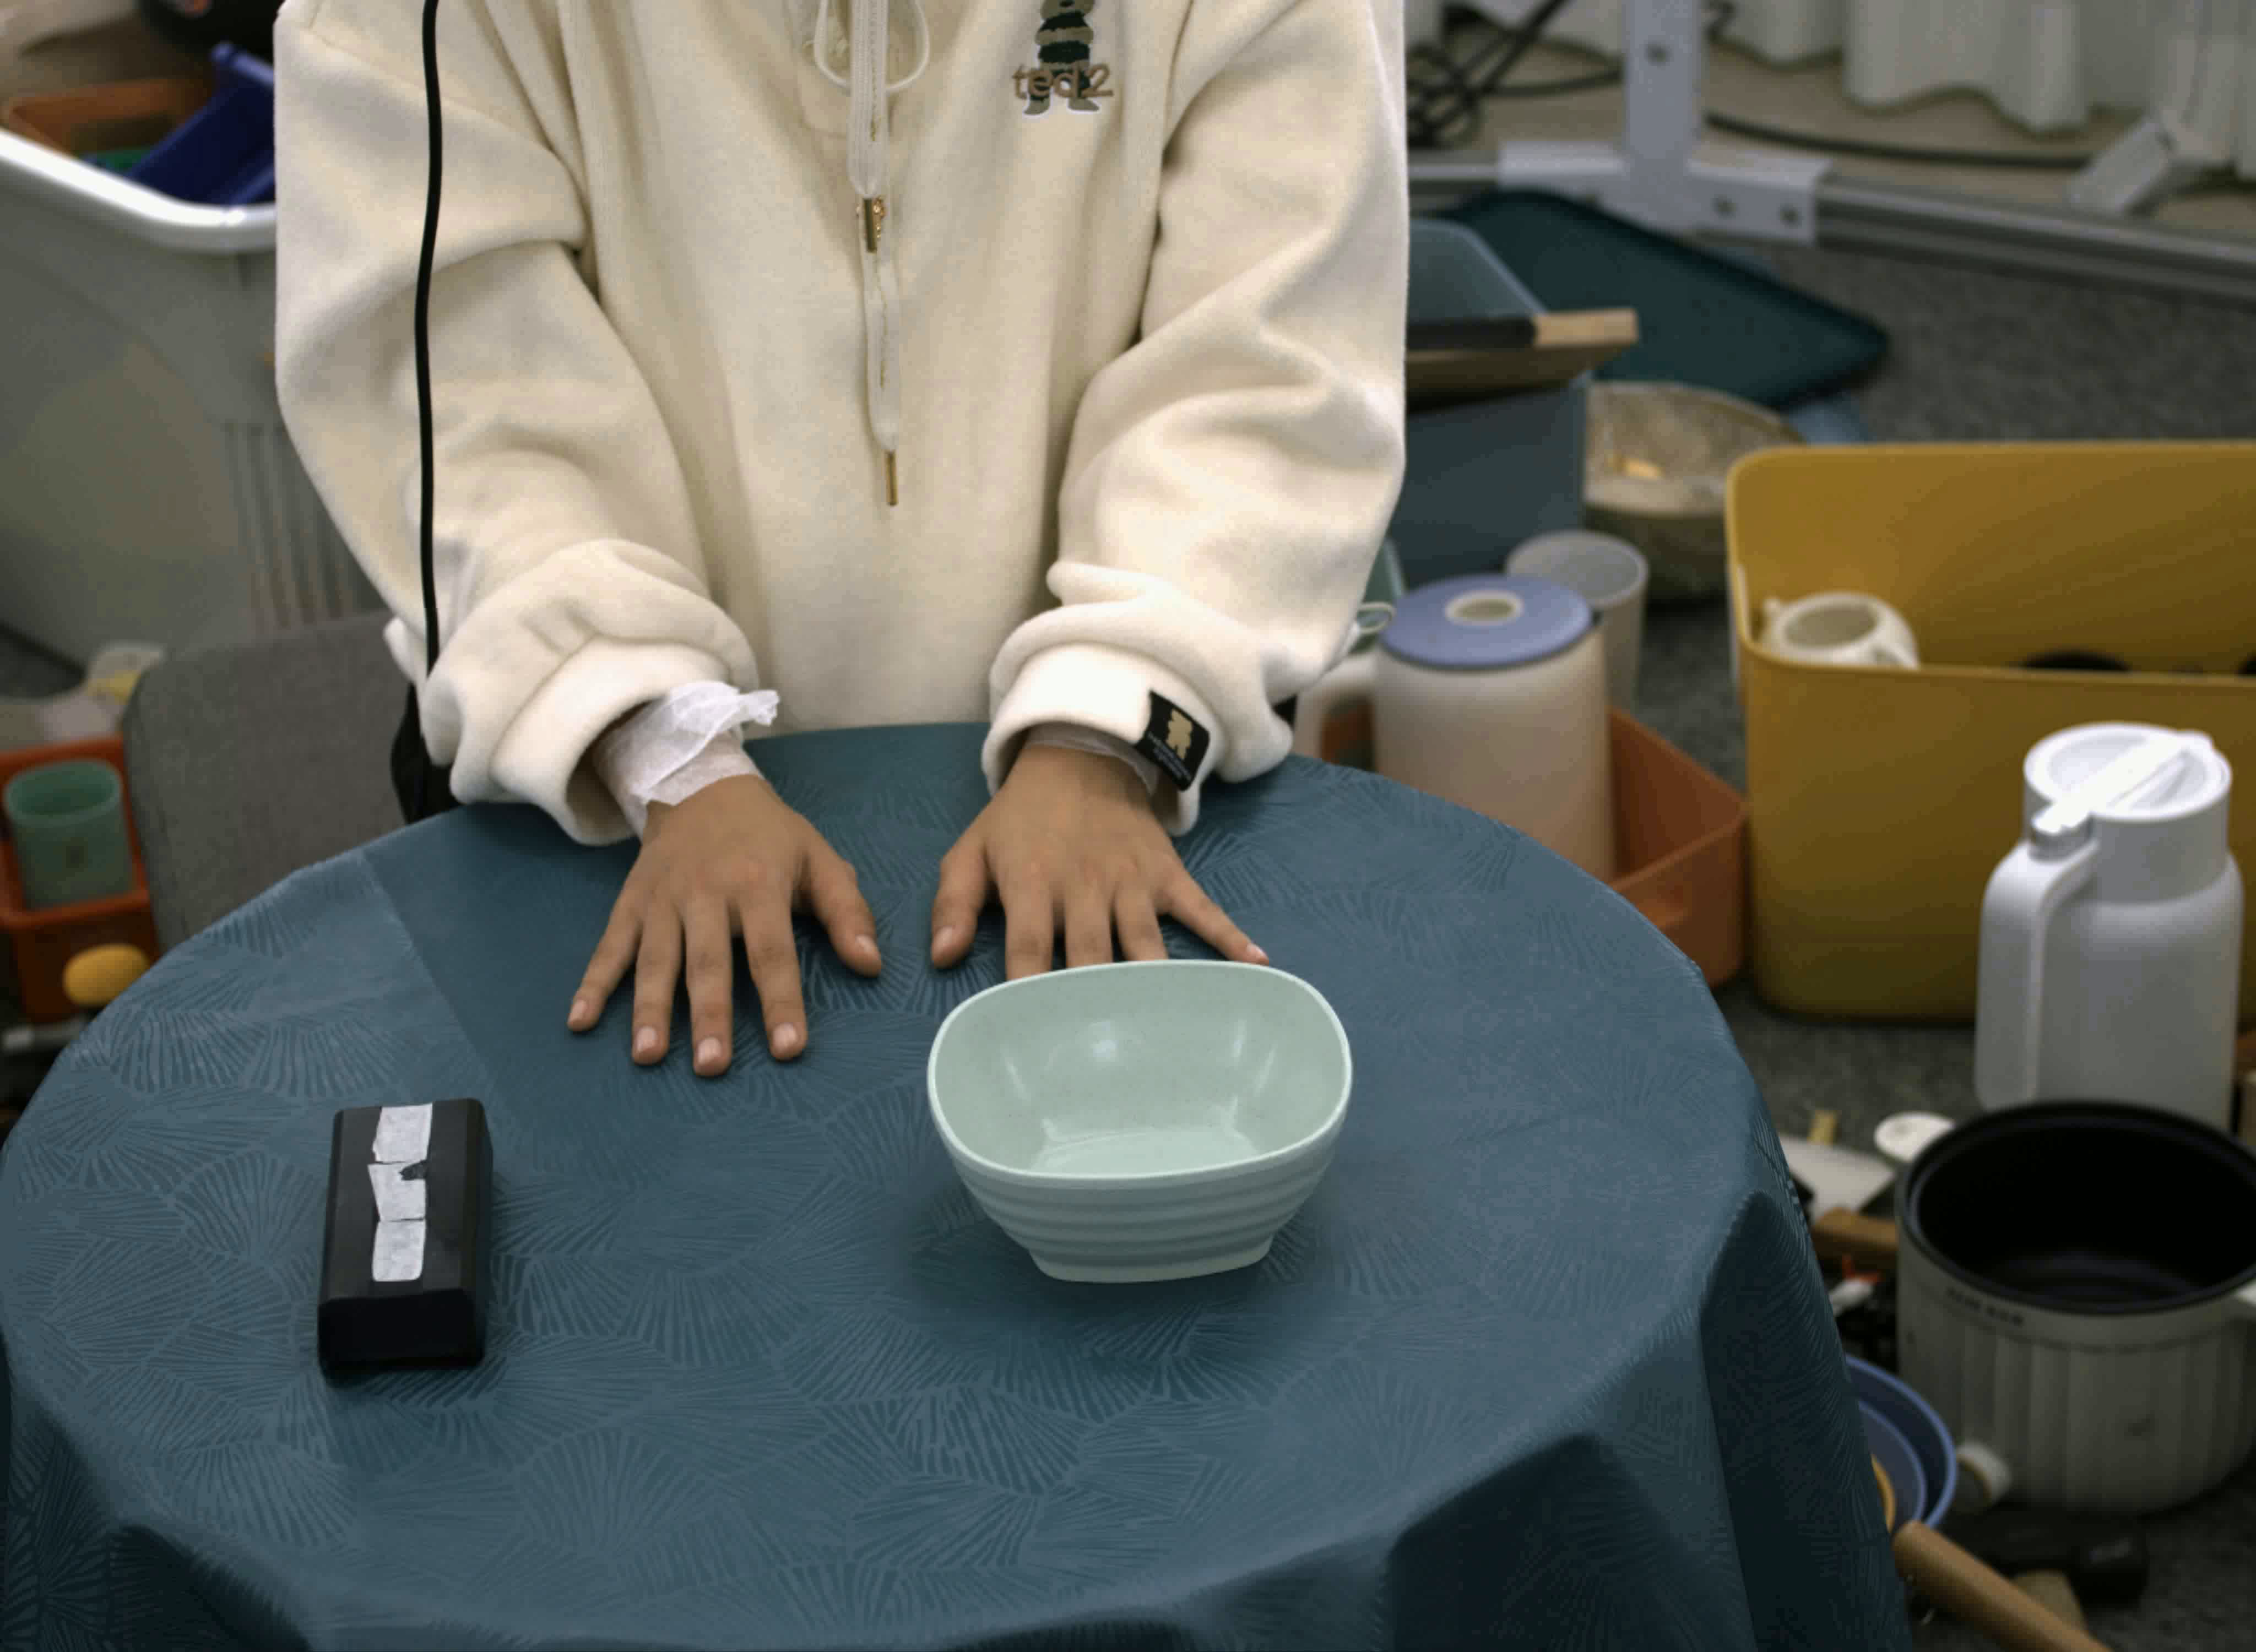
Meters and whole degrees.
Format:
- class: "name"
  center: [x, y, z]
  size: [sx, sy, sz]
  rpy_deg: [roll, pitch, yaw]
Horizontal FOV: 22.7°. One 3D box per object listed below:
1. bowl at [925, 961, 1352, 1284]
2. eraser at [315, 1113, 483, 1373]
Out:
- class: "bowl"
  center: [0.003, 0.103, 1.837]
  size: [0.151, 0.058, 0.154]
  rpy_deg: [0, 28, 0]
- class: "eraser"
  center: [-0.236, 0.136, 1.829]
  size: [0.053, 0.030, 0.127]
  rpy_deg: [-4, 25, -5]
